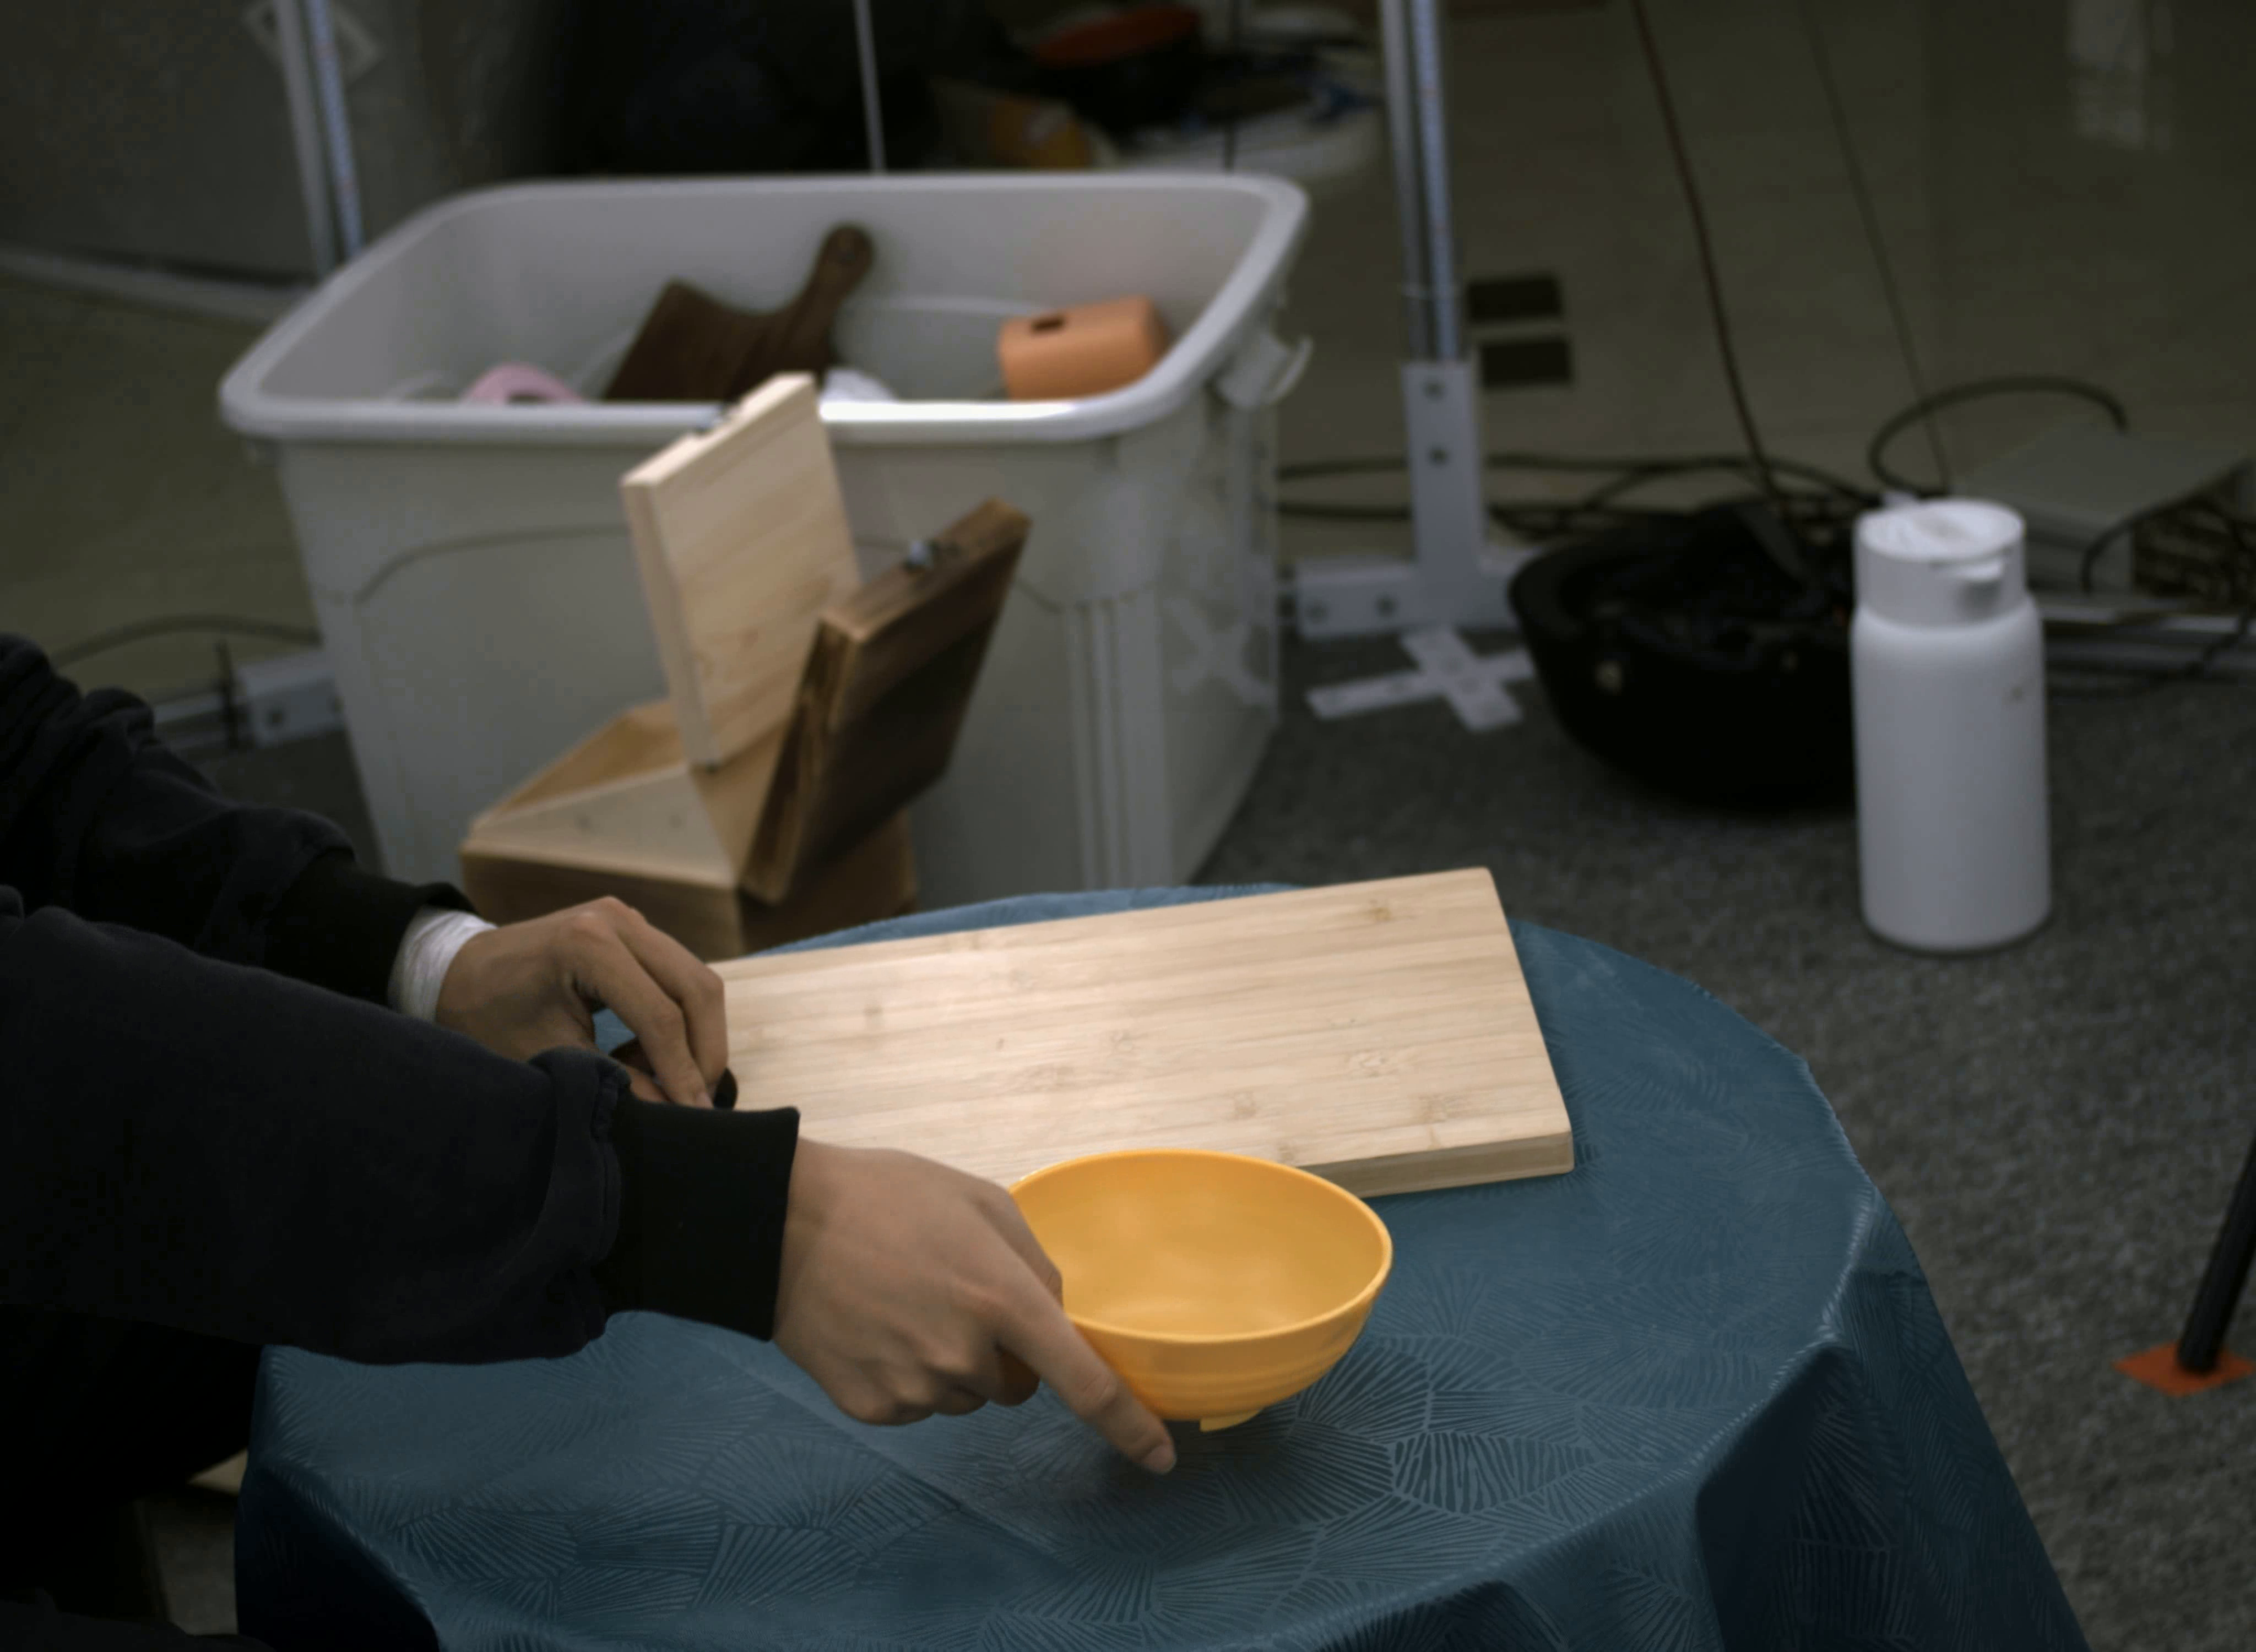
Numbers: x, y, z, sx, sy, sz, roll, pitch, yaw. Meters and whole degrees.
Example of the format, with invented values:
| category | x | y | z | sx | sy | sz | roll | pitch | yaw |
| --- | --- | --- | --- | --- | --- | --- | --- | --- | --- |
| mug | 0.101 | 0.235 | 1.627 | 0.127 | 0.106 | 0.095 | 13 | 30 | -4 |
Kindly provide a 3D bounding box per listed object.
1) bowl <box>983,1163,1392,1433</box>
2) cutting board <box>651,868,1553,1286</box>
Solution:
| category | x | y | z | sx | sy | sz | roll | pitch | yaw |
| --- | --- | --- | --- | --- | --- | --- | --- | --- | --- |
| bowl | 0.019 | 0.171 | 1.980 | 0.145 | 0.061 | 0.143 | 2 | 20 | -1 |
| cutting board | -0.015 | 0.096 | 2.231 | 0.348 | 0.024 | 0.247 | -7 | 25 | -2 |
